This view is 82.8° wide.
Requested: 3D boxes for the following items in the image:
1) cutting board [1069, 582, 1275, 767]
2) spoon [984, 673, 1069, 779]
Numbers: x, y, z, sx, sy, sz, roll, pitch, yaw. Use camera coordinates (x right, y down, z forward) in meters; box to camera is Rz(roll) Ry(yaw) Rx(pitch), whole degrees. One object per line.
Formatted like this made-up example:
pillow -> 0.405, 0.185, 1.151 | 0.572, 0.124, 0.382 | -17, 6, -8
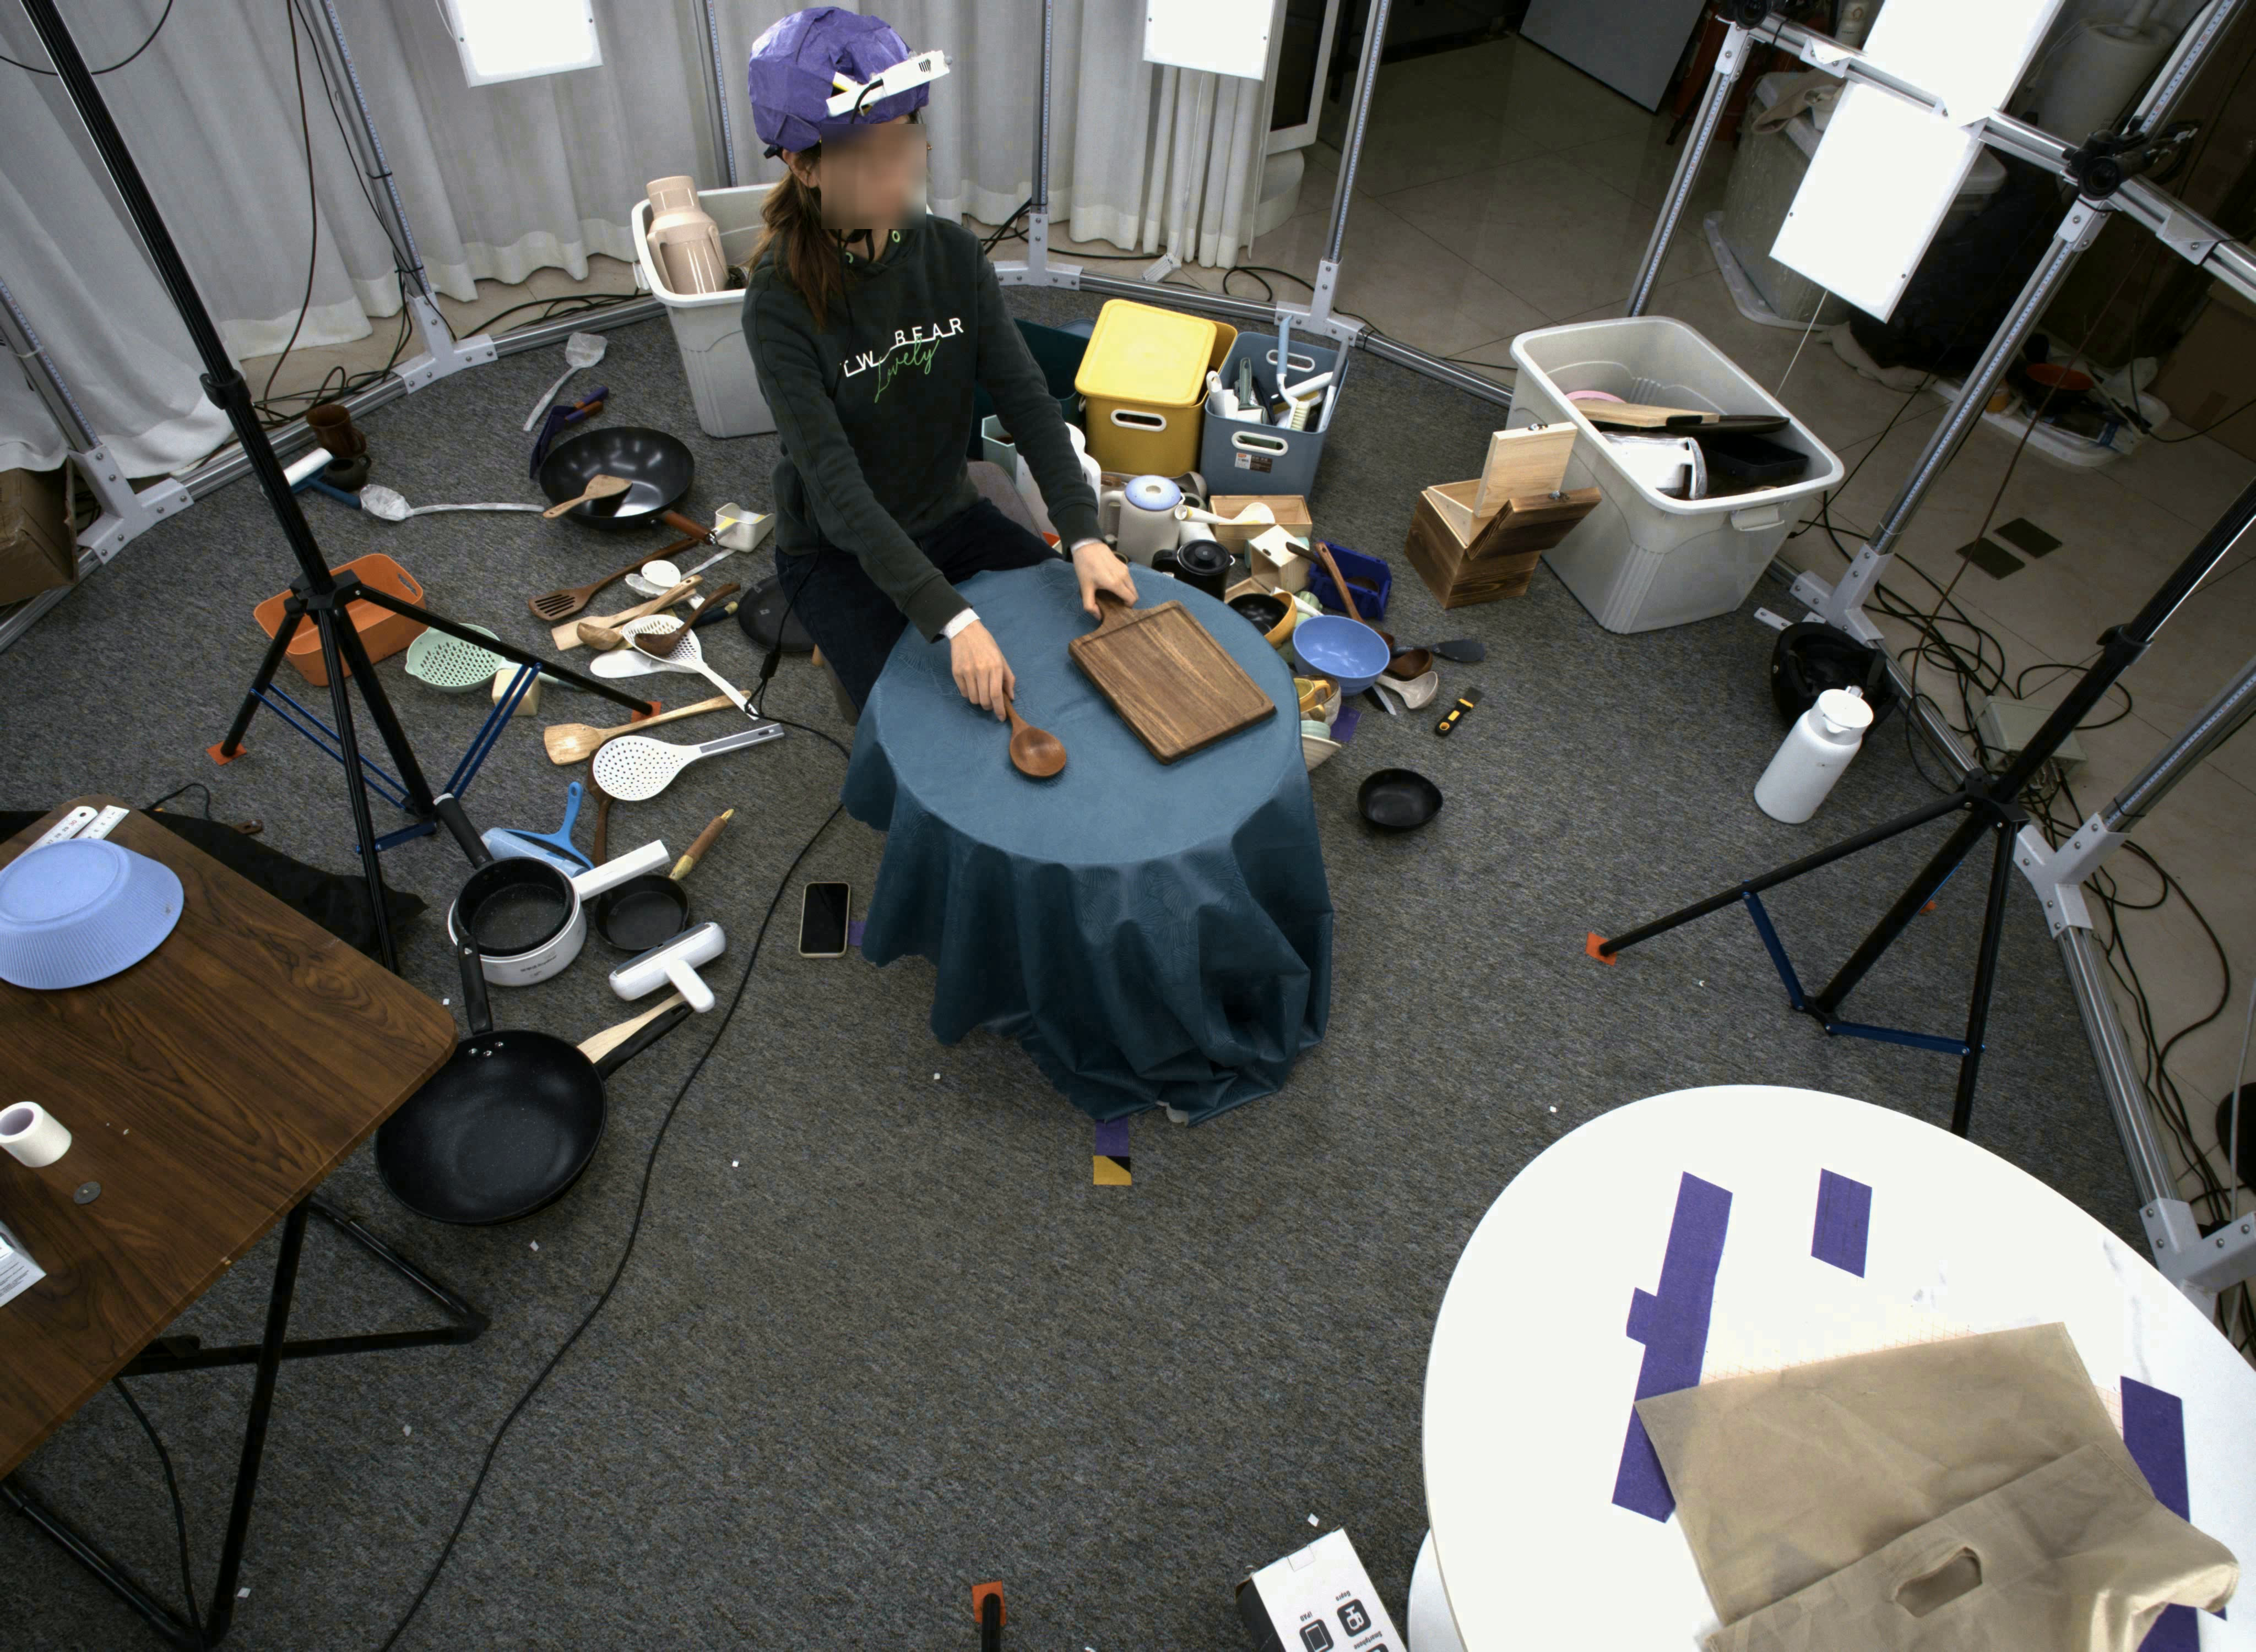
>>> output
cutting board -> 0.035, -0.244, 1.877 | 0.202, 0.022, 0.359 | -26, 58, -22
spoon -> -0.149, -0.140, 1.784 | 0.075, 0.017, 0.220 | -21, 54, -18
